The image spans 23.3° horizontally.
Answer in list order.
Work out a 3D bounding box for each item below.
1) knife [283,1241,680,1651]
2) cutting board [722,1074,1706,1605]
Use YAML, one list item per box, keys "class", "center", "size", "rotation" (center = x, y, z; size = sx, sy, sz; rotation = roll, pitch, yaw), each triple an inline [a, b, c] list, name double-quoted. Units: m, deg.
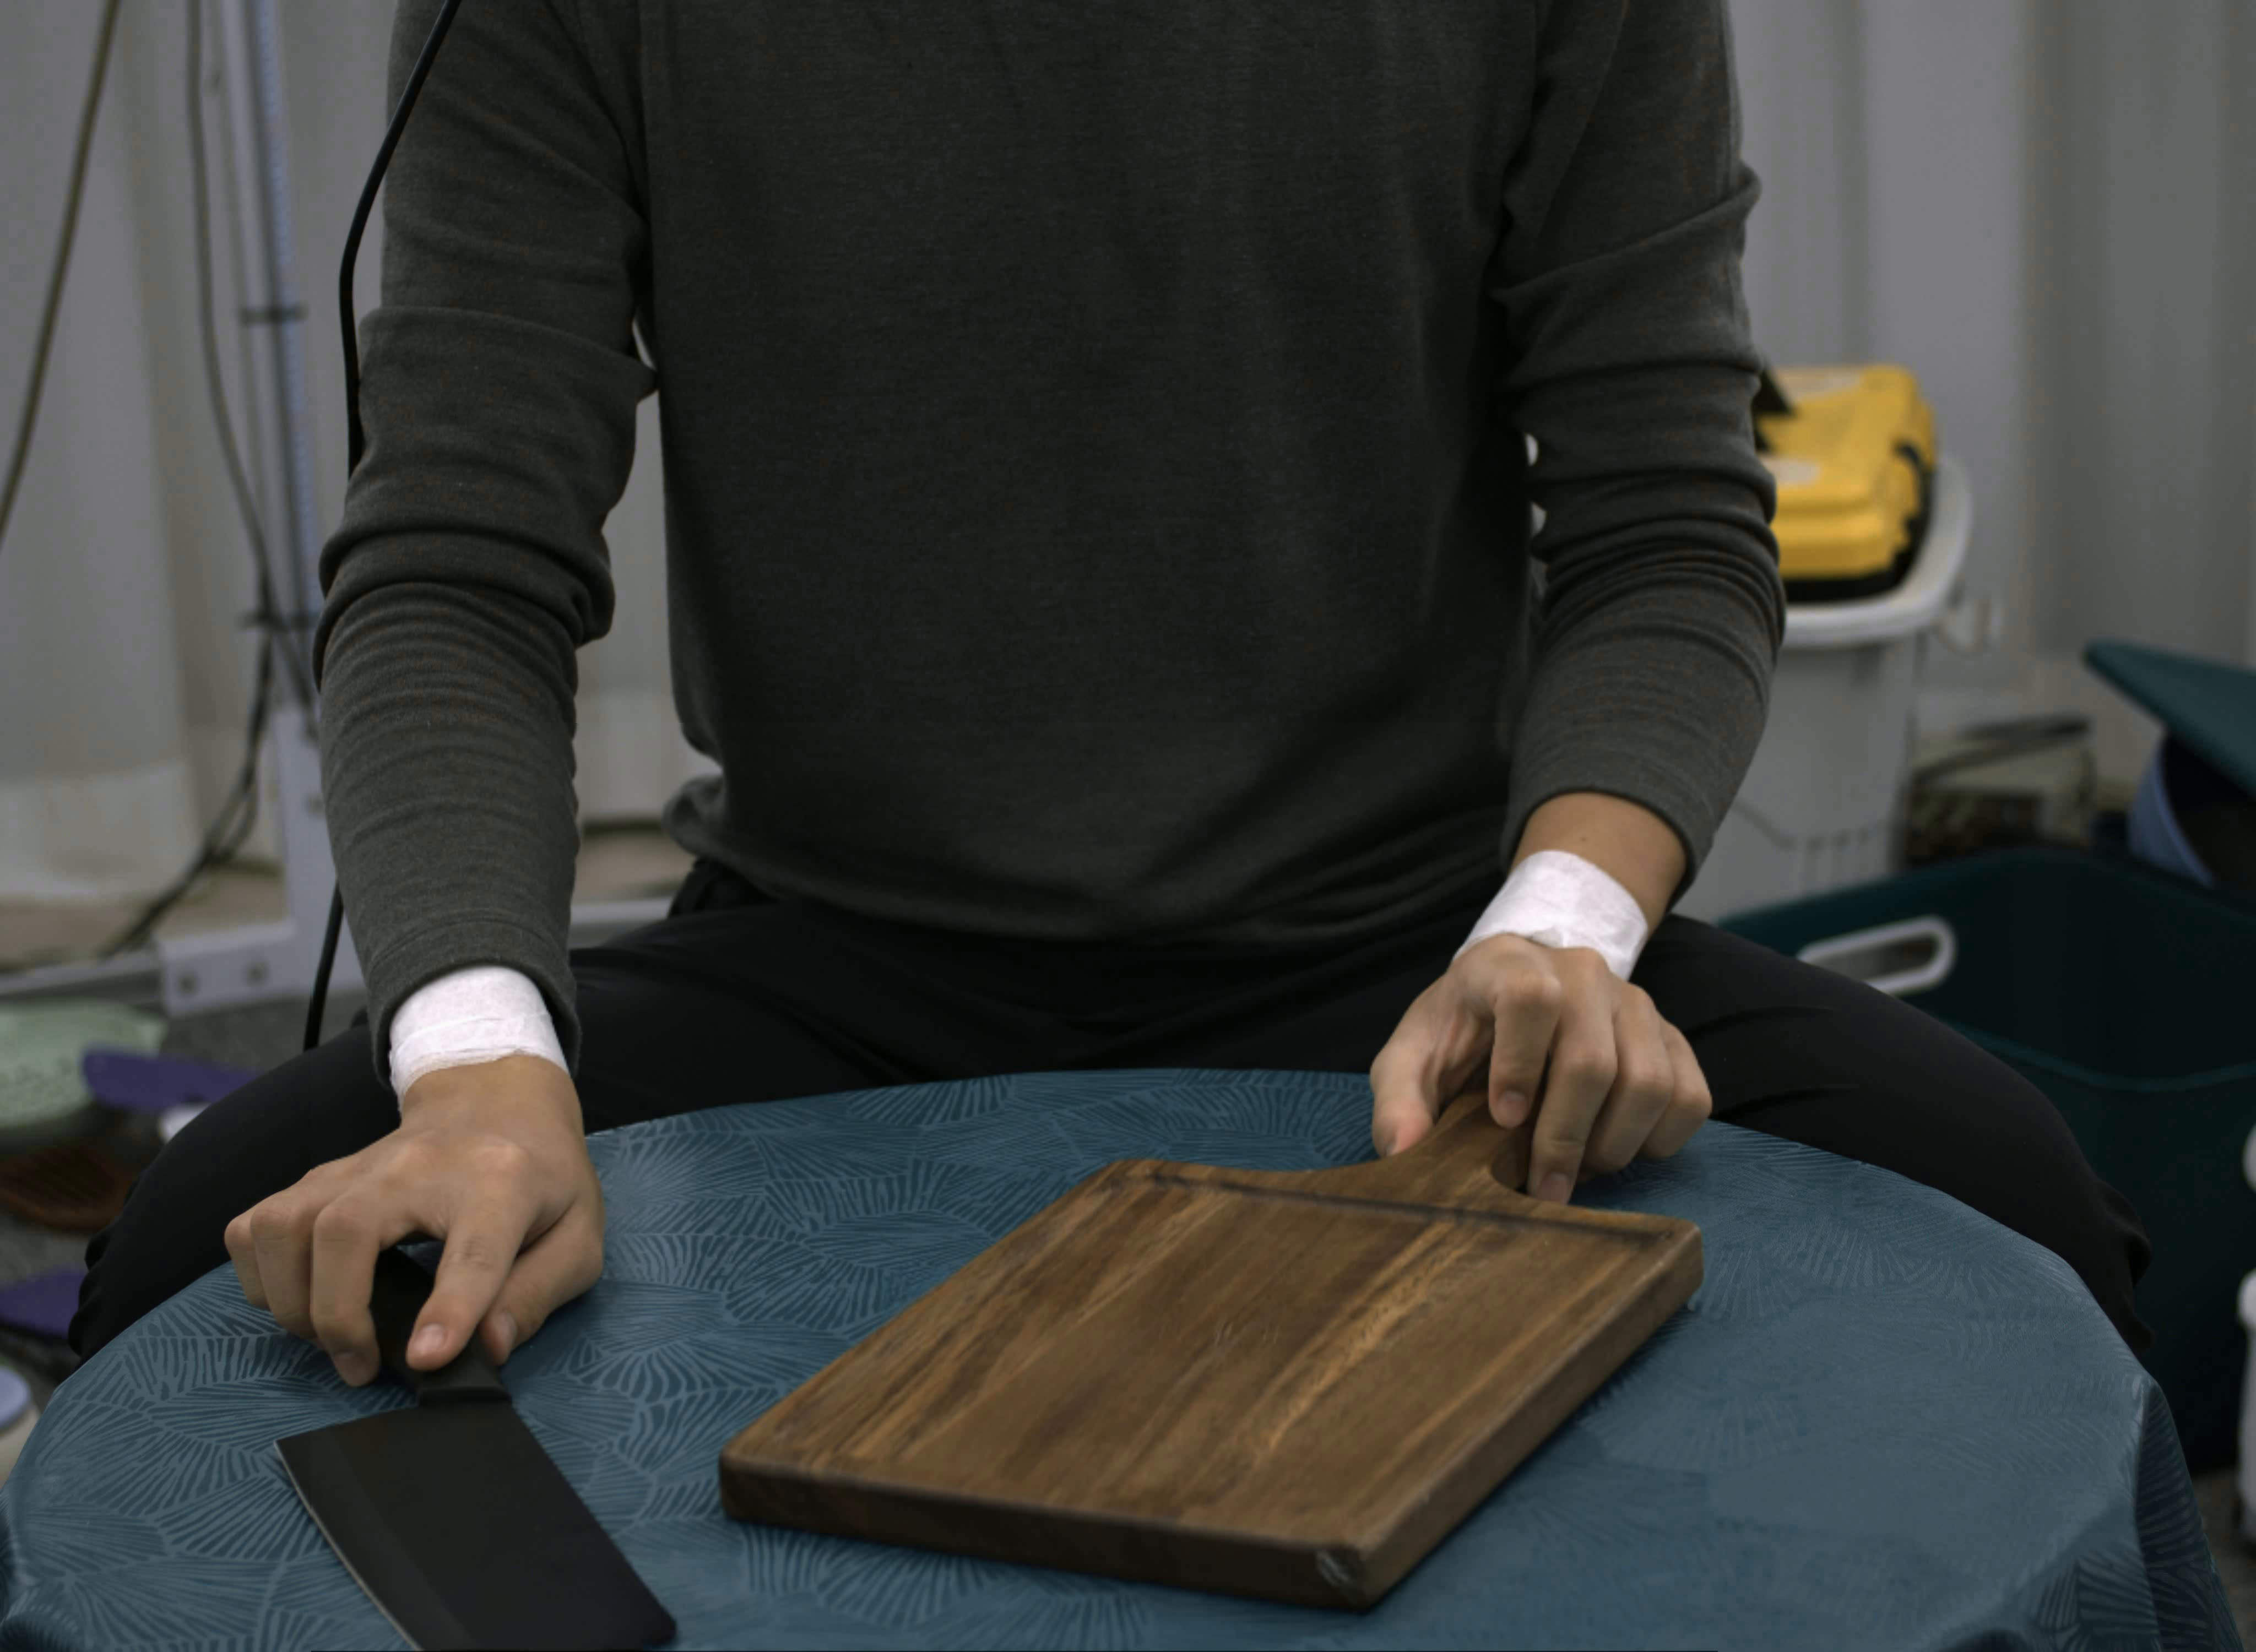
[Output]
- class: "knife"
  center: [-0.193, 0.172, 1.511]
  size: [0.080, 0.021, 0.305]
  rotation: [-10, 18, -15]
- class: "cutting board"
  center: [0.051, 0.136, 1.572]
  size: [0.201, 0.023, 0.353]
  rotation: [5, 18, 26]
